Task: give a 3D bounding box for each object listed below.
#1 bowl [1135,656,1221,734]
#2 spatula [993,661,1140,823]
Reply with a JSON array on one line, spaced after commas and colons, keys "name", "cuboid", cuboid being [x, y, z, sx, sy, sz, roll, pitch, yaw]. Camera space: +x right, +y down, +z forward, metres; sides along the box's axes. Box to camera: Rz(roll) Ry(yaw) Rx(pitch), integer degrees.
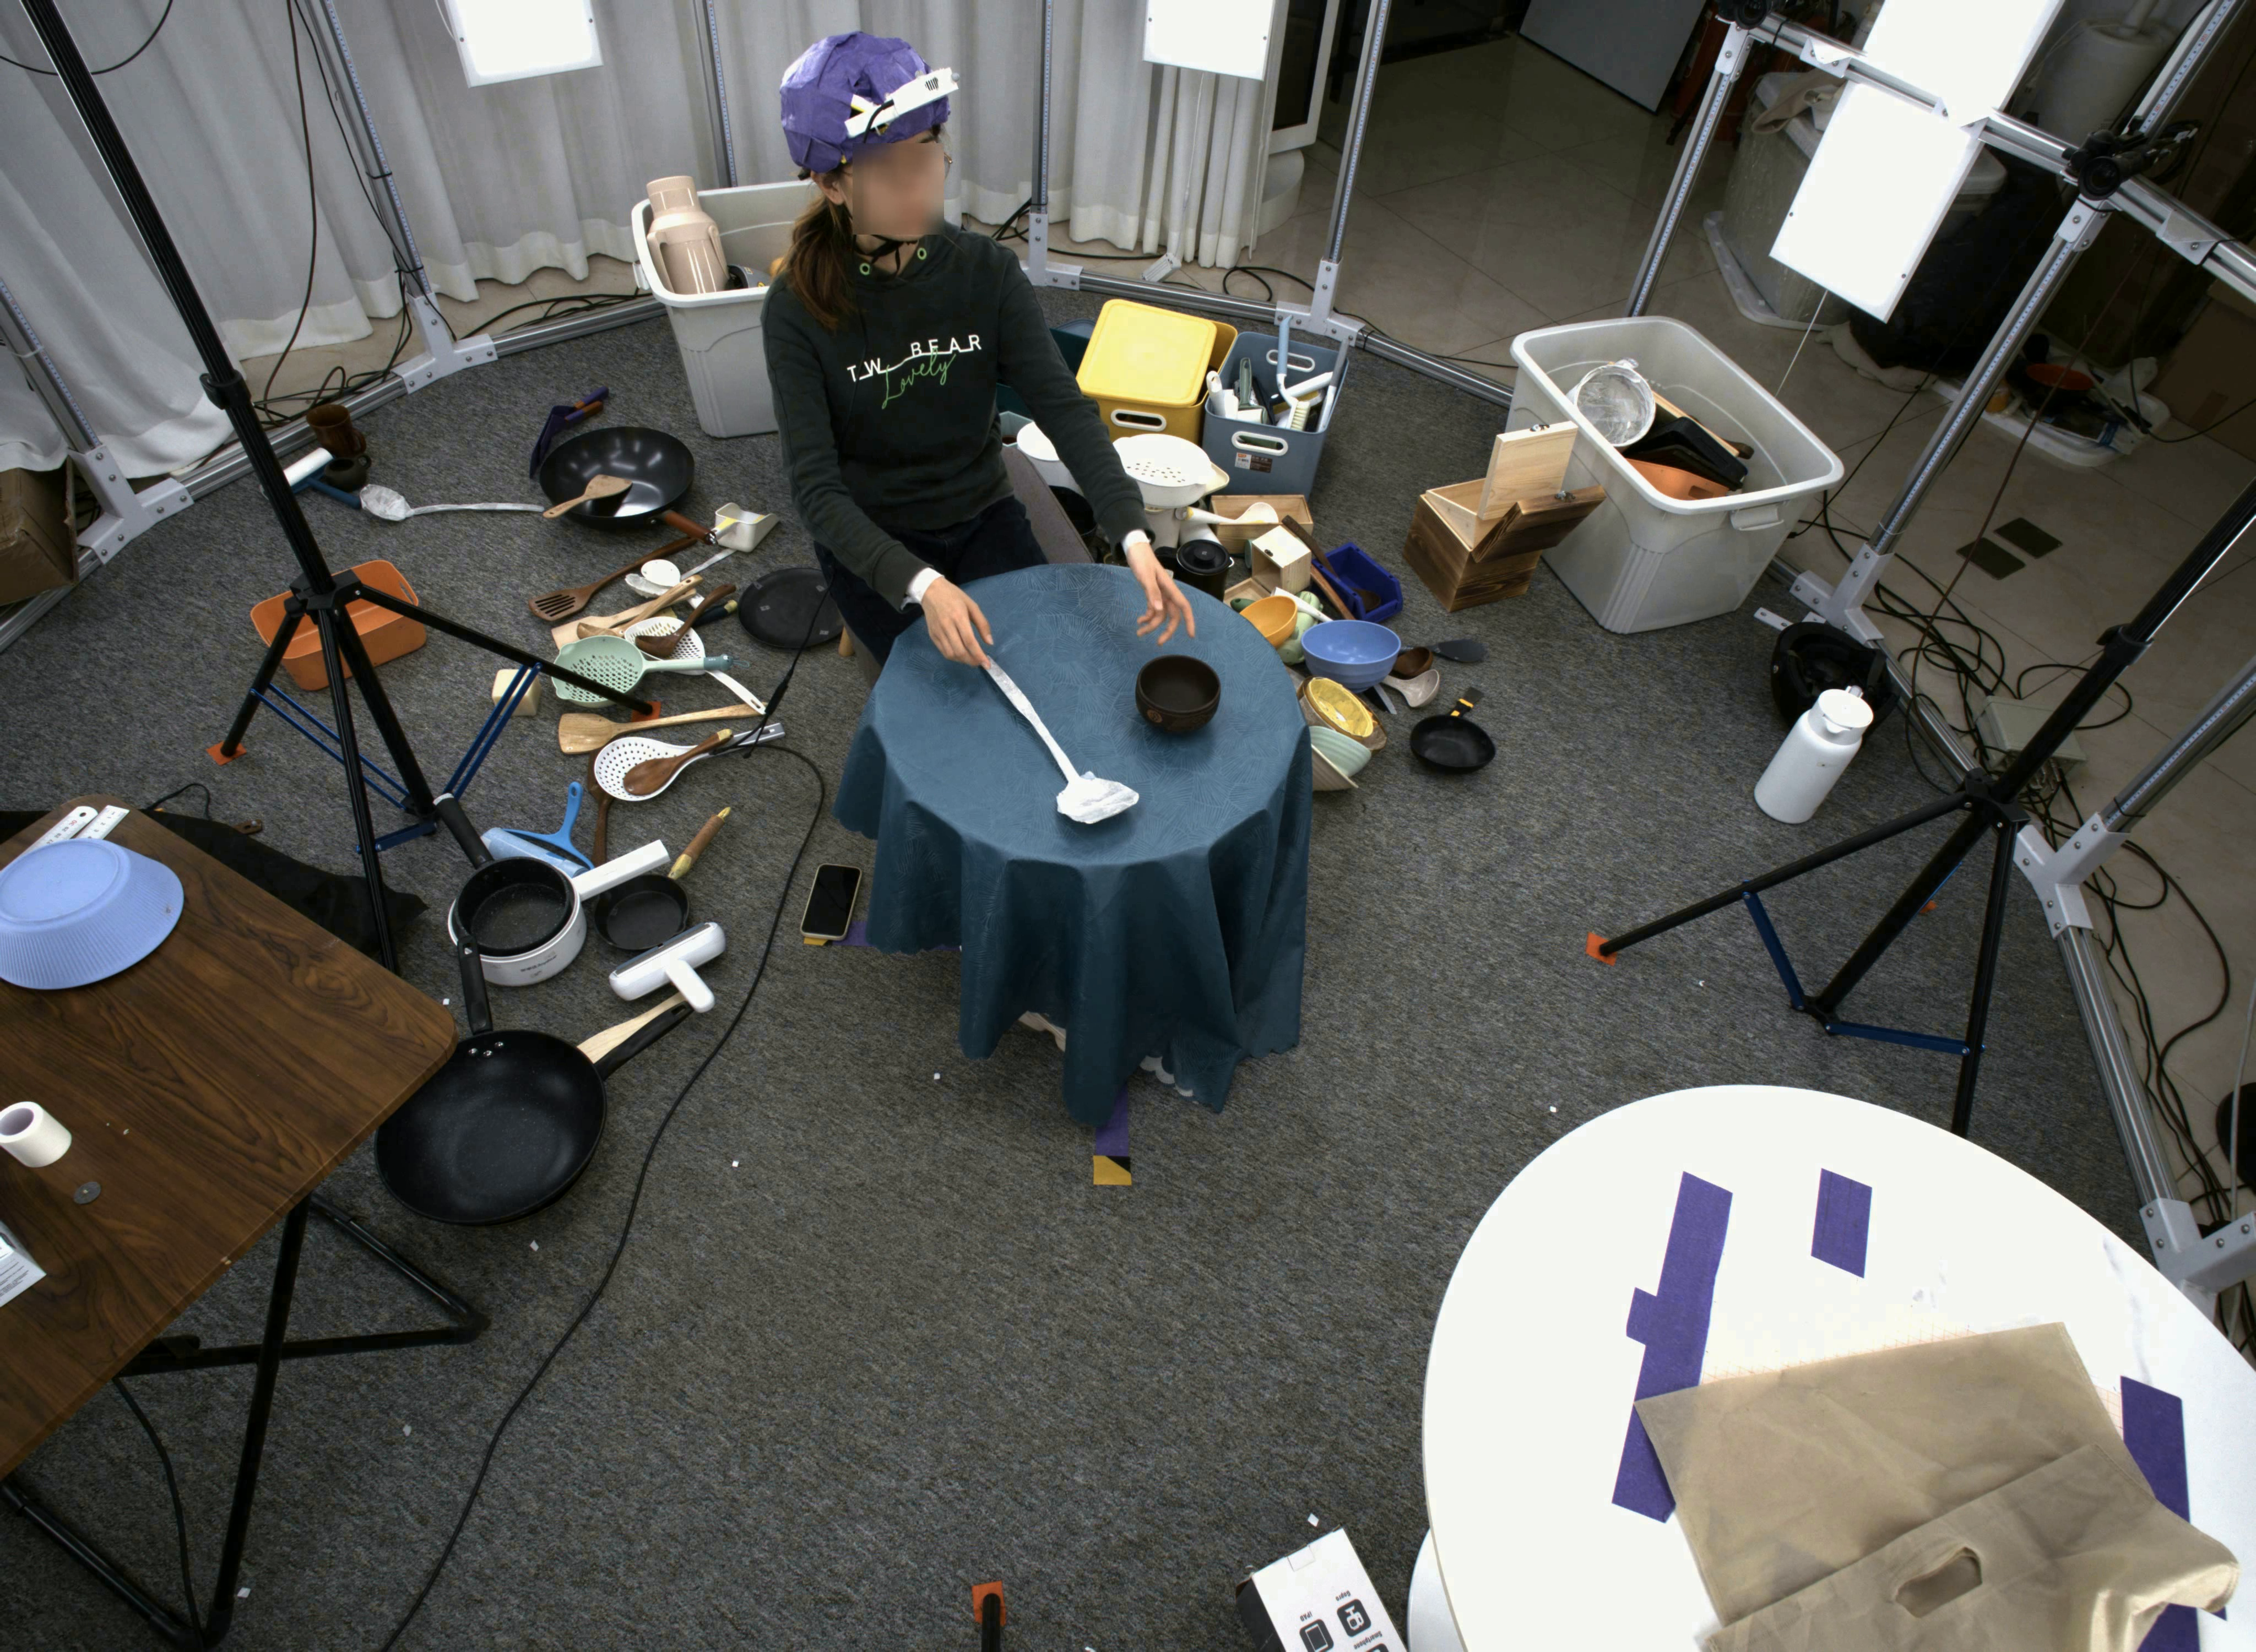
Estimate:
[{"name": "bowl", "cuboid": [0.068, -0.175, 1.795, 0.118, 0.068, 0.121, 3, 47, -3]}, {"name": "spatula", "cuboid": [-0.107, -0.126, 1.762, 0.099, 0.043, 0.373, -22, 54, -19]}]
